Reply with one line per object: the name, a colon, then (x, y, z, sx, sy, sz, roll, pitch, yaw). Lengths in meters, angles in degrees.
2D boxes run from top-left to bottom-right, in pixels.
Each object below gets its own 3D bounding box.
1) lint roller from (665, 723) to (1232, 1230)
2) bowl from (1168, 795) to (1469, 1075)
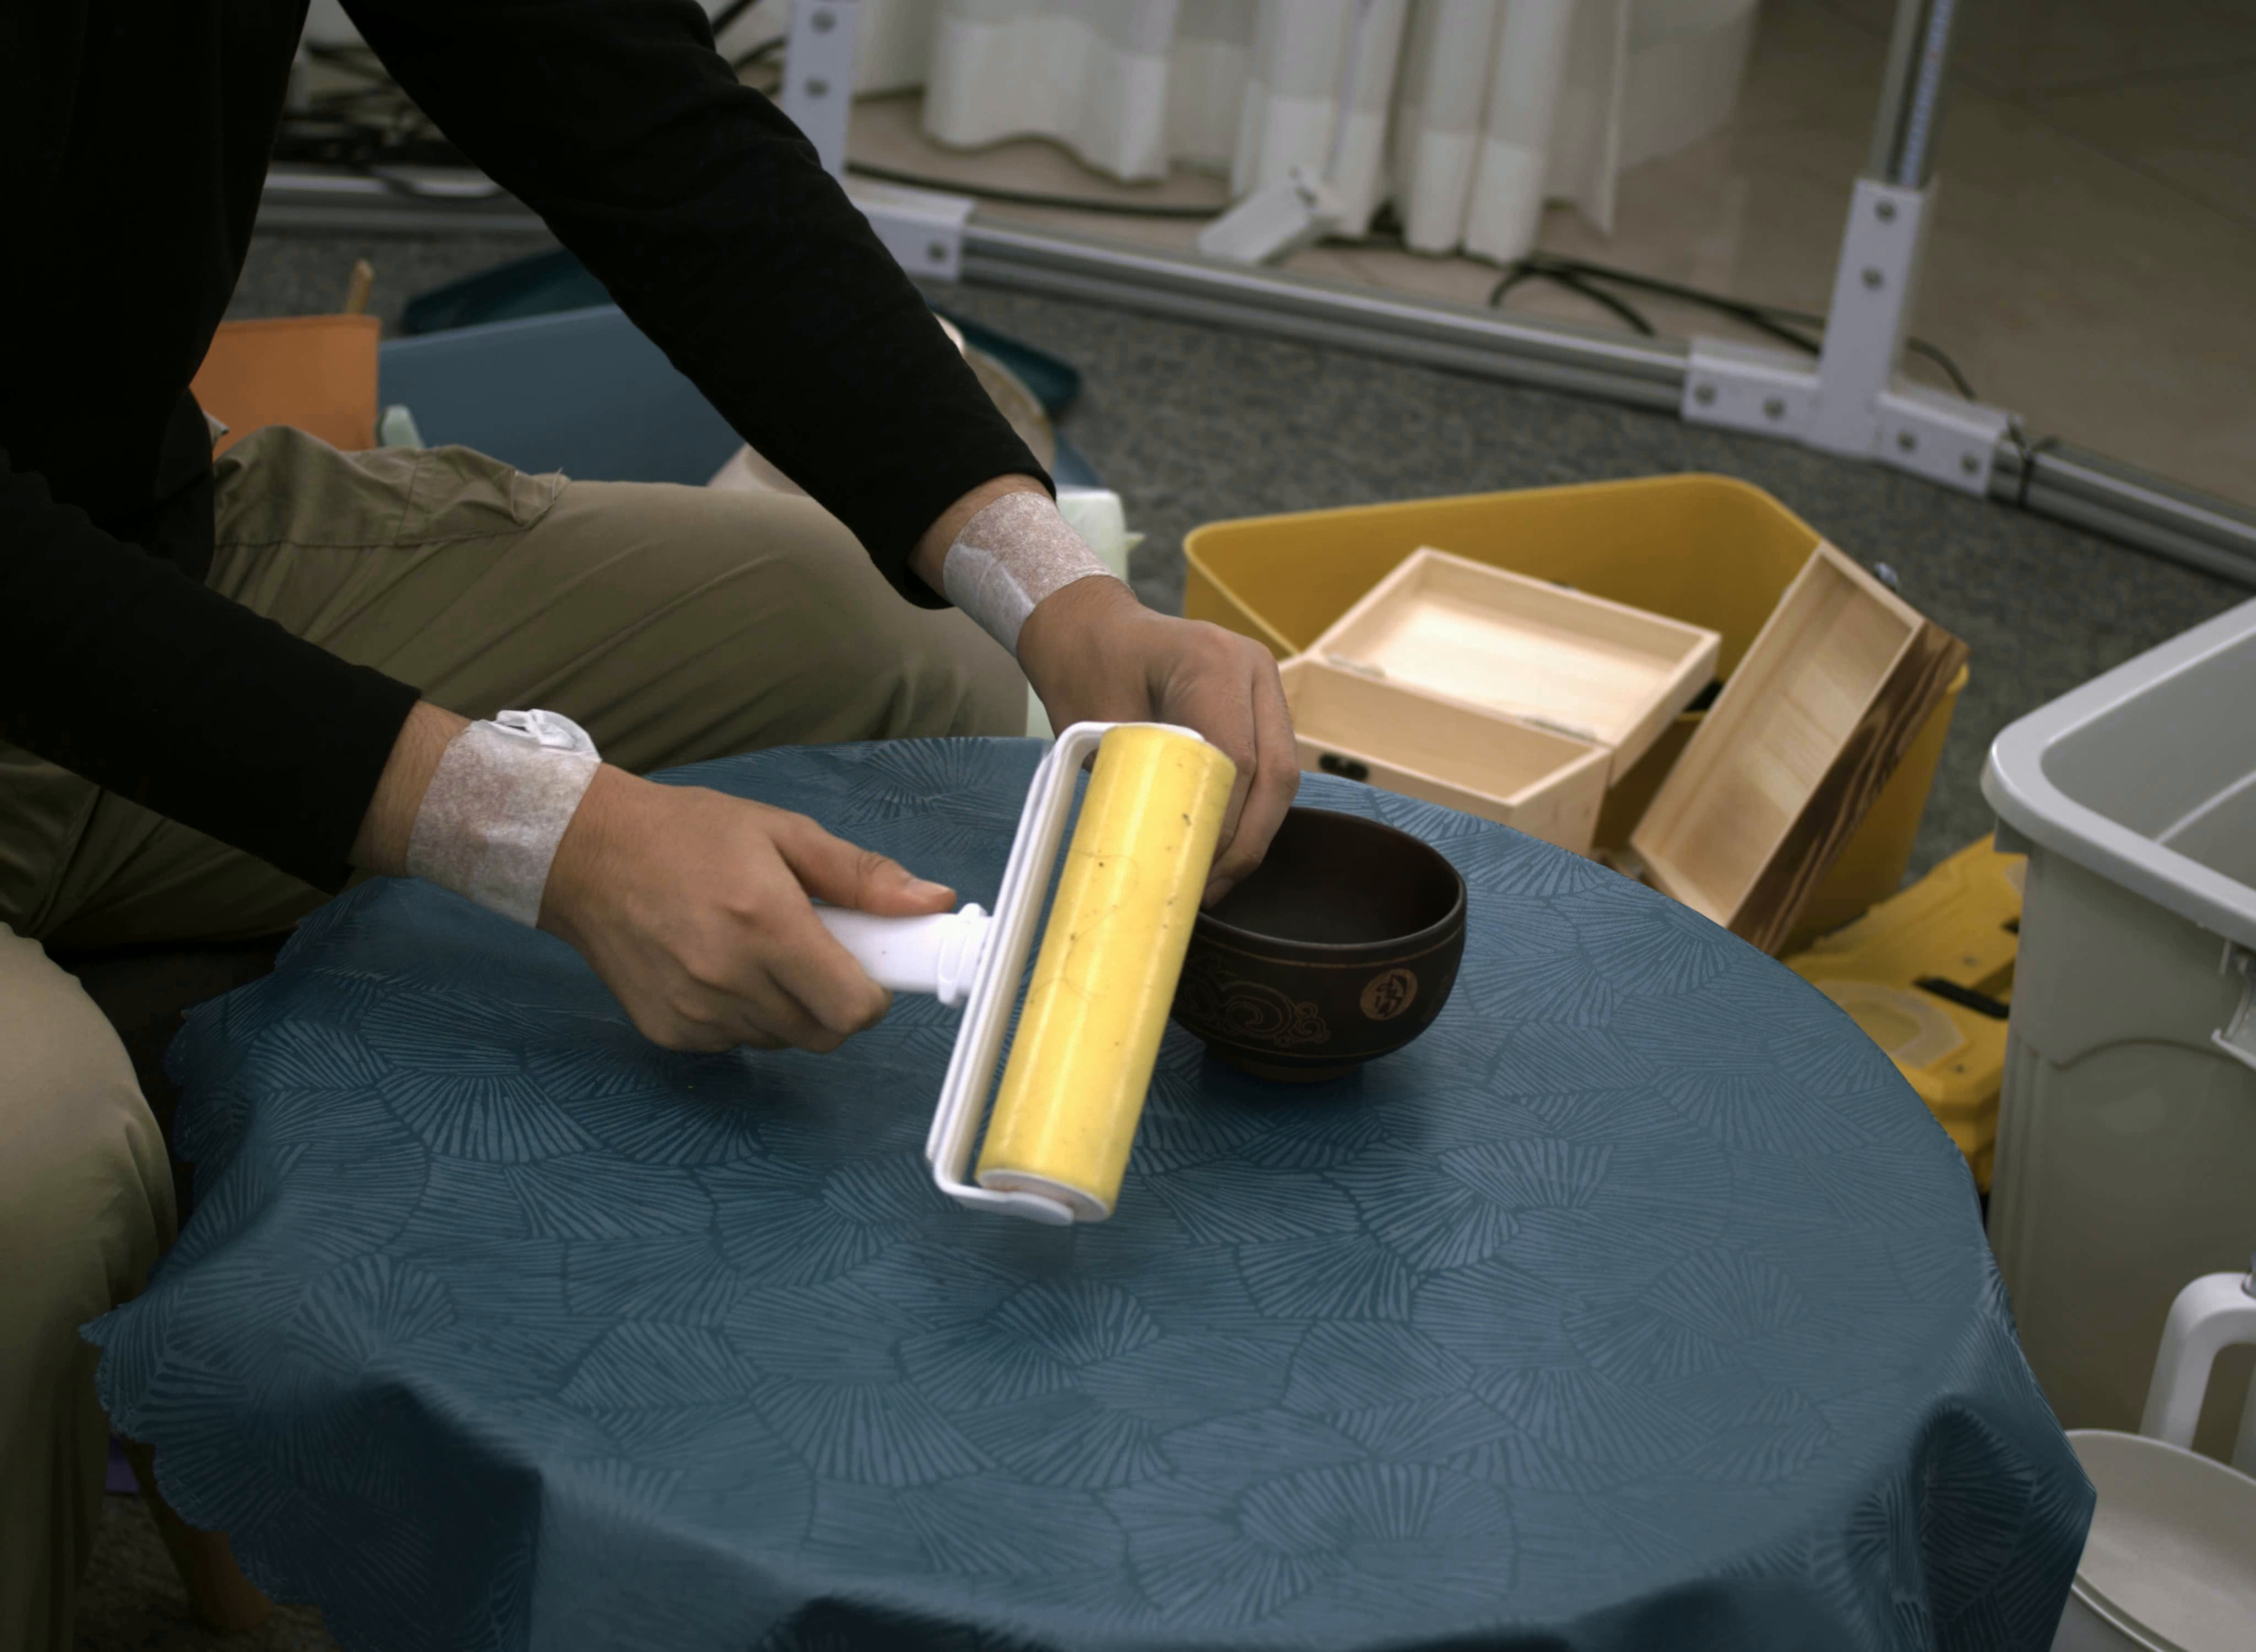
lint roller: (-0.073, 0.041, 1.788, 0.192, 0.051, 0.175, 7, 69, 19)
bowl: (0.059, 0.045, 1.886, 0.117, 0.069, 0.118, 6, 25, -3)
